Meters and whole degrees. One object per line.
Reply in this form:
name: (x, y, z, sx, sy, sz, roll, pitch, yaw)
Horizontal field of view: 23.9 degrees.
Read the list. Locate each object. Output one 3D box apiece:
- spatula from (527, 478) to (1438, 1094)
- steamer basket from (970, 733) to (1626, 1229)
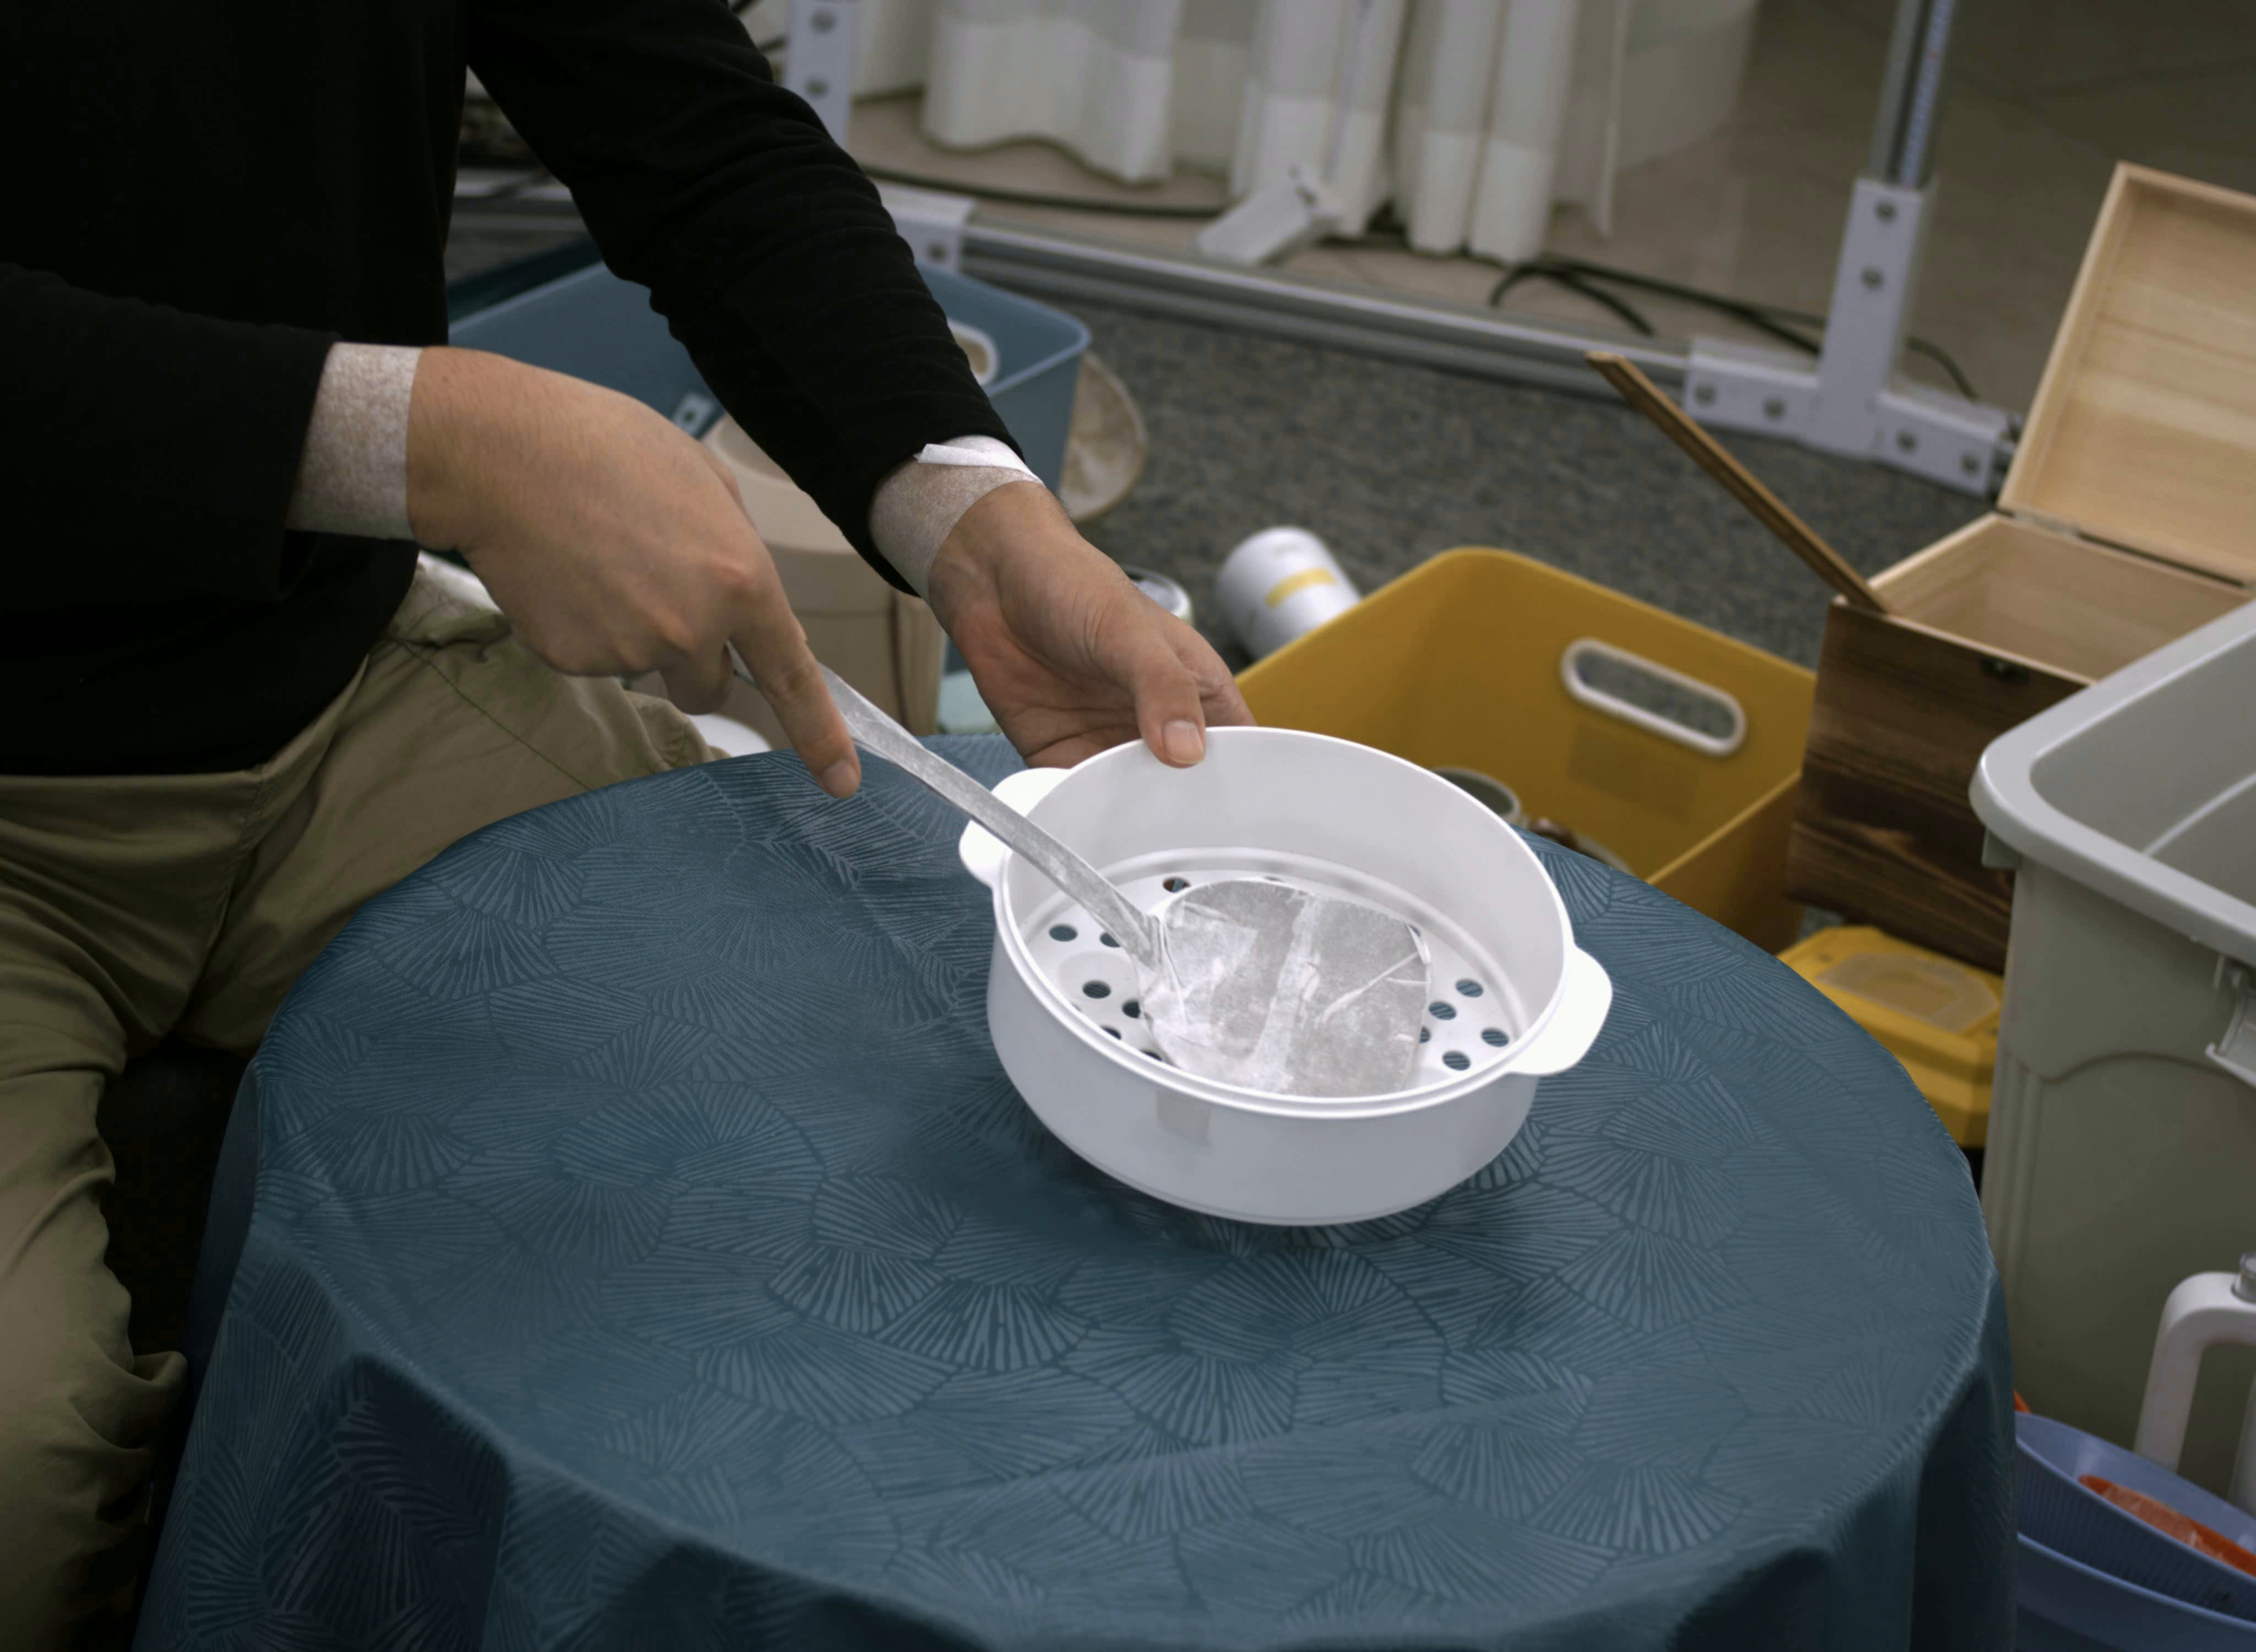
spatula: (-0.049, -0.013, 1.782, 0.362, 0.045, 0.099, 35, 57, -20)
steamer basket: (0.053, 0.054, 1.824, 0.231, 0.069, 0.202, 20, 39, 14)
